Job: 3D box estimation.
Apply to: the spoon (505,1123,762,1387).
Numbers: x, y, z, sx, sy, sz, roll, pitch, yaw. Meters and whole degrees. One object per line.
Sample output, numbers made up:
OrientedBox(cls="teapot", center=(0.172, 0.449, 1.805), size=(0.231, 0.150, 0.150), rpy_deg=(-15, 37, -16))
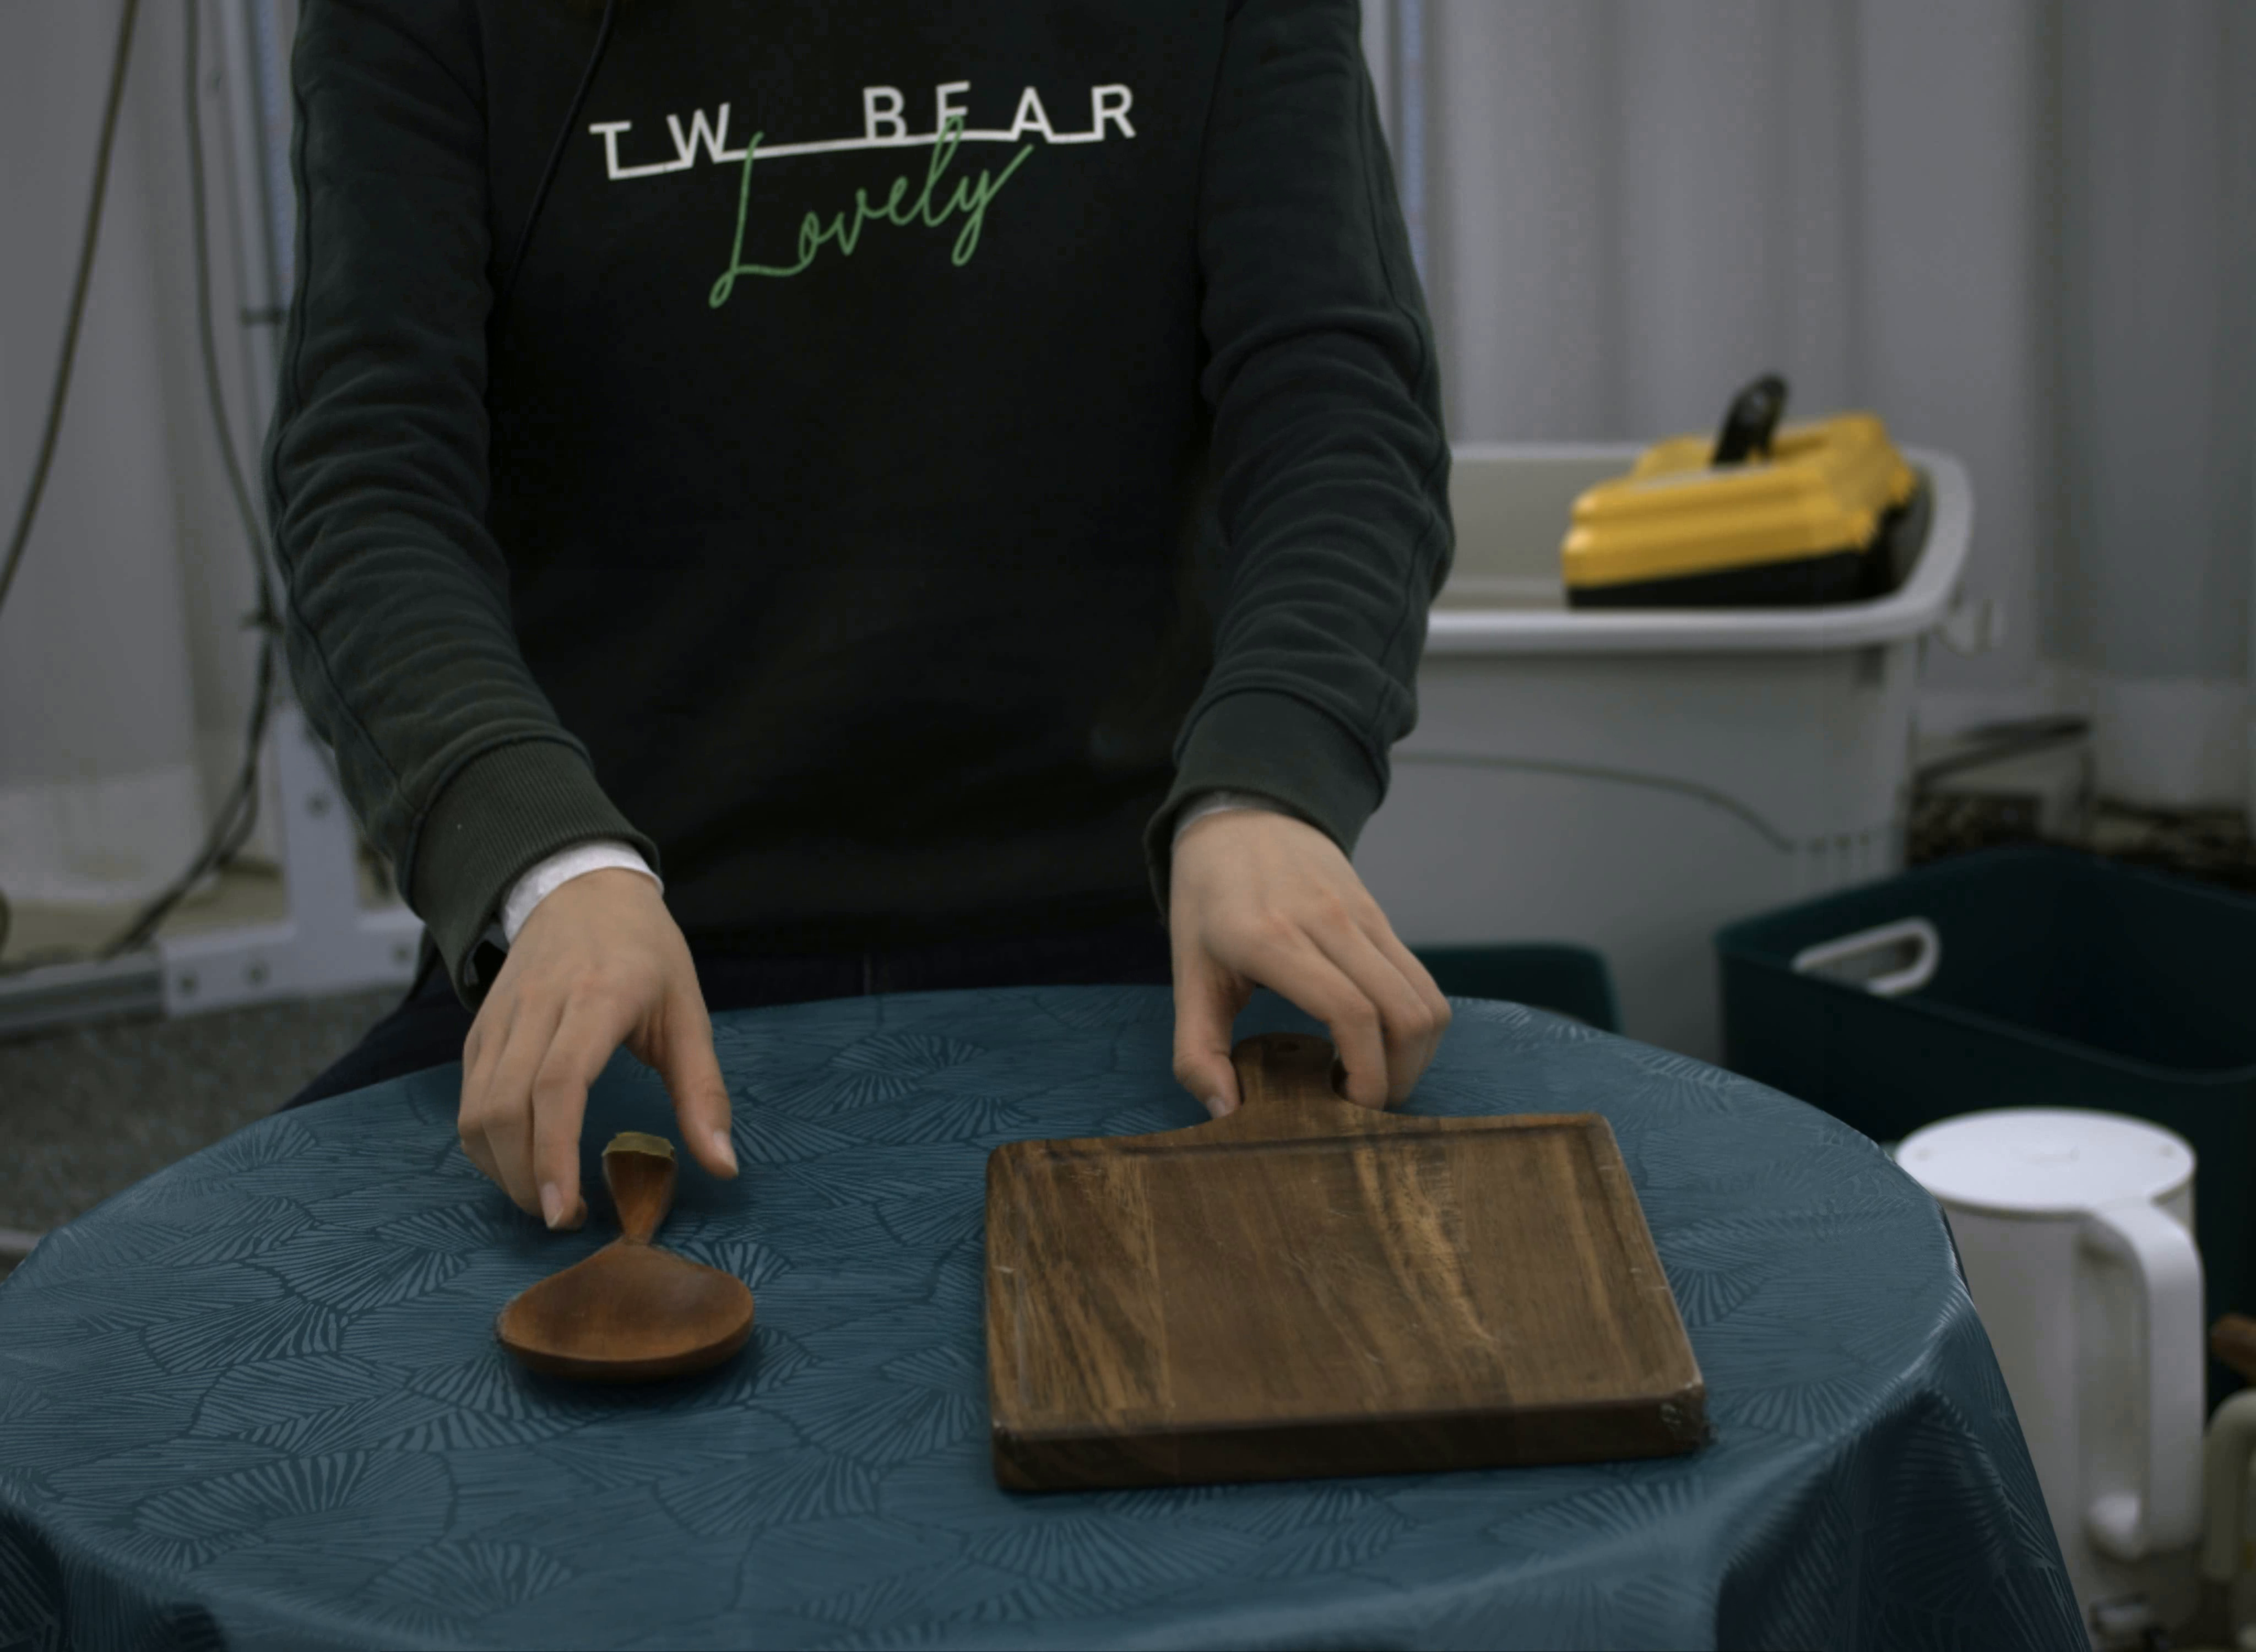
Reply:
OrientedBox(cls="spoon", center=(-0.148, 0.130, 1.650), size=(0.075, 0.017, 0.217), rpy_deg=(-6, 16, -3))

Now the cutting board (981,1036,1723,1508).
OrientedBox(cls="cutting board", center=(0.056, 0.124, 1.637), size=(0.200, 0.023, 0.354), rpy_deg=(-4, 15, -1))
